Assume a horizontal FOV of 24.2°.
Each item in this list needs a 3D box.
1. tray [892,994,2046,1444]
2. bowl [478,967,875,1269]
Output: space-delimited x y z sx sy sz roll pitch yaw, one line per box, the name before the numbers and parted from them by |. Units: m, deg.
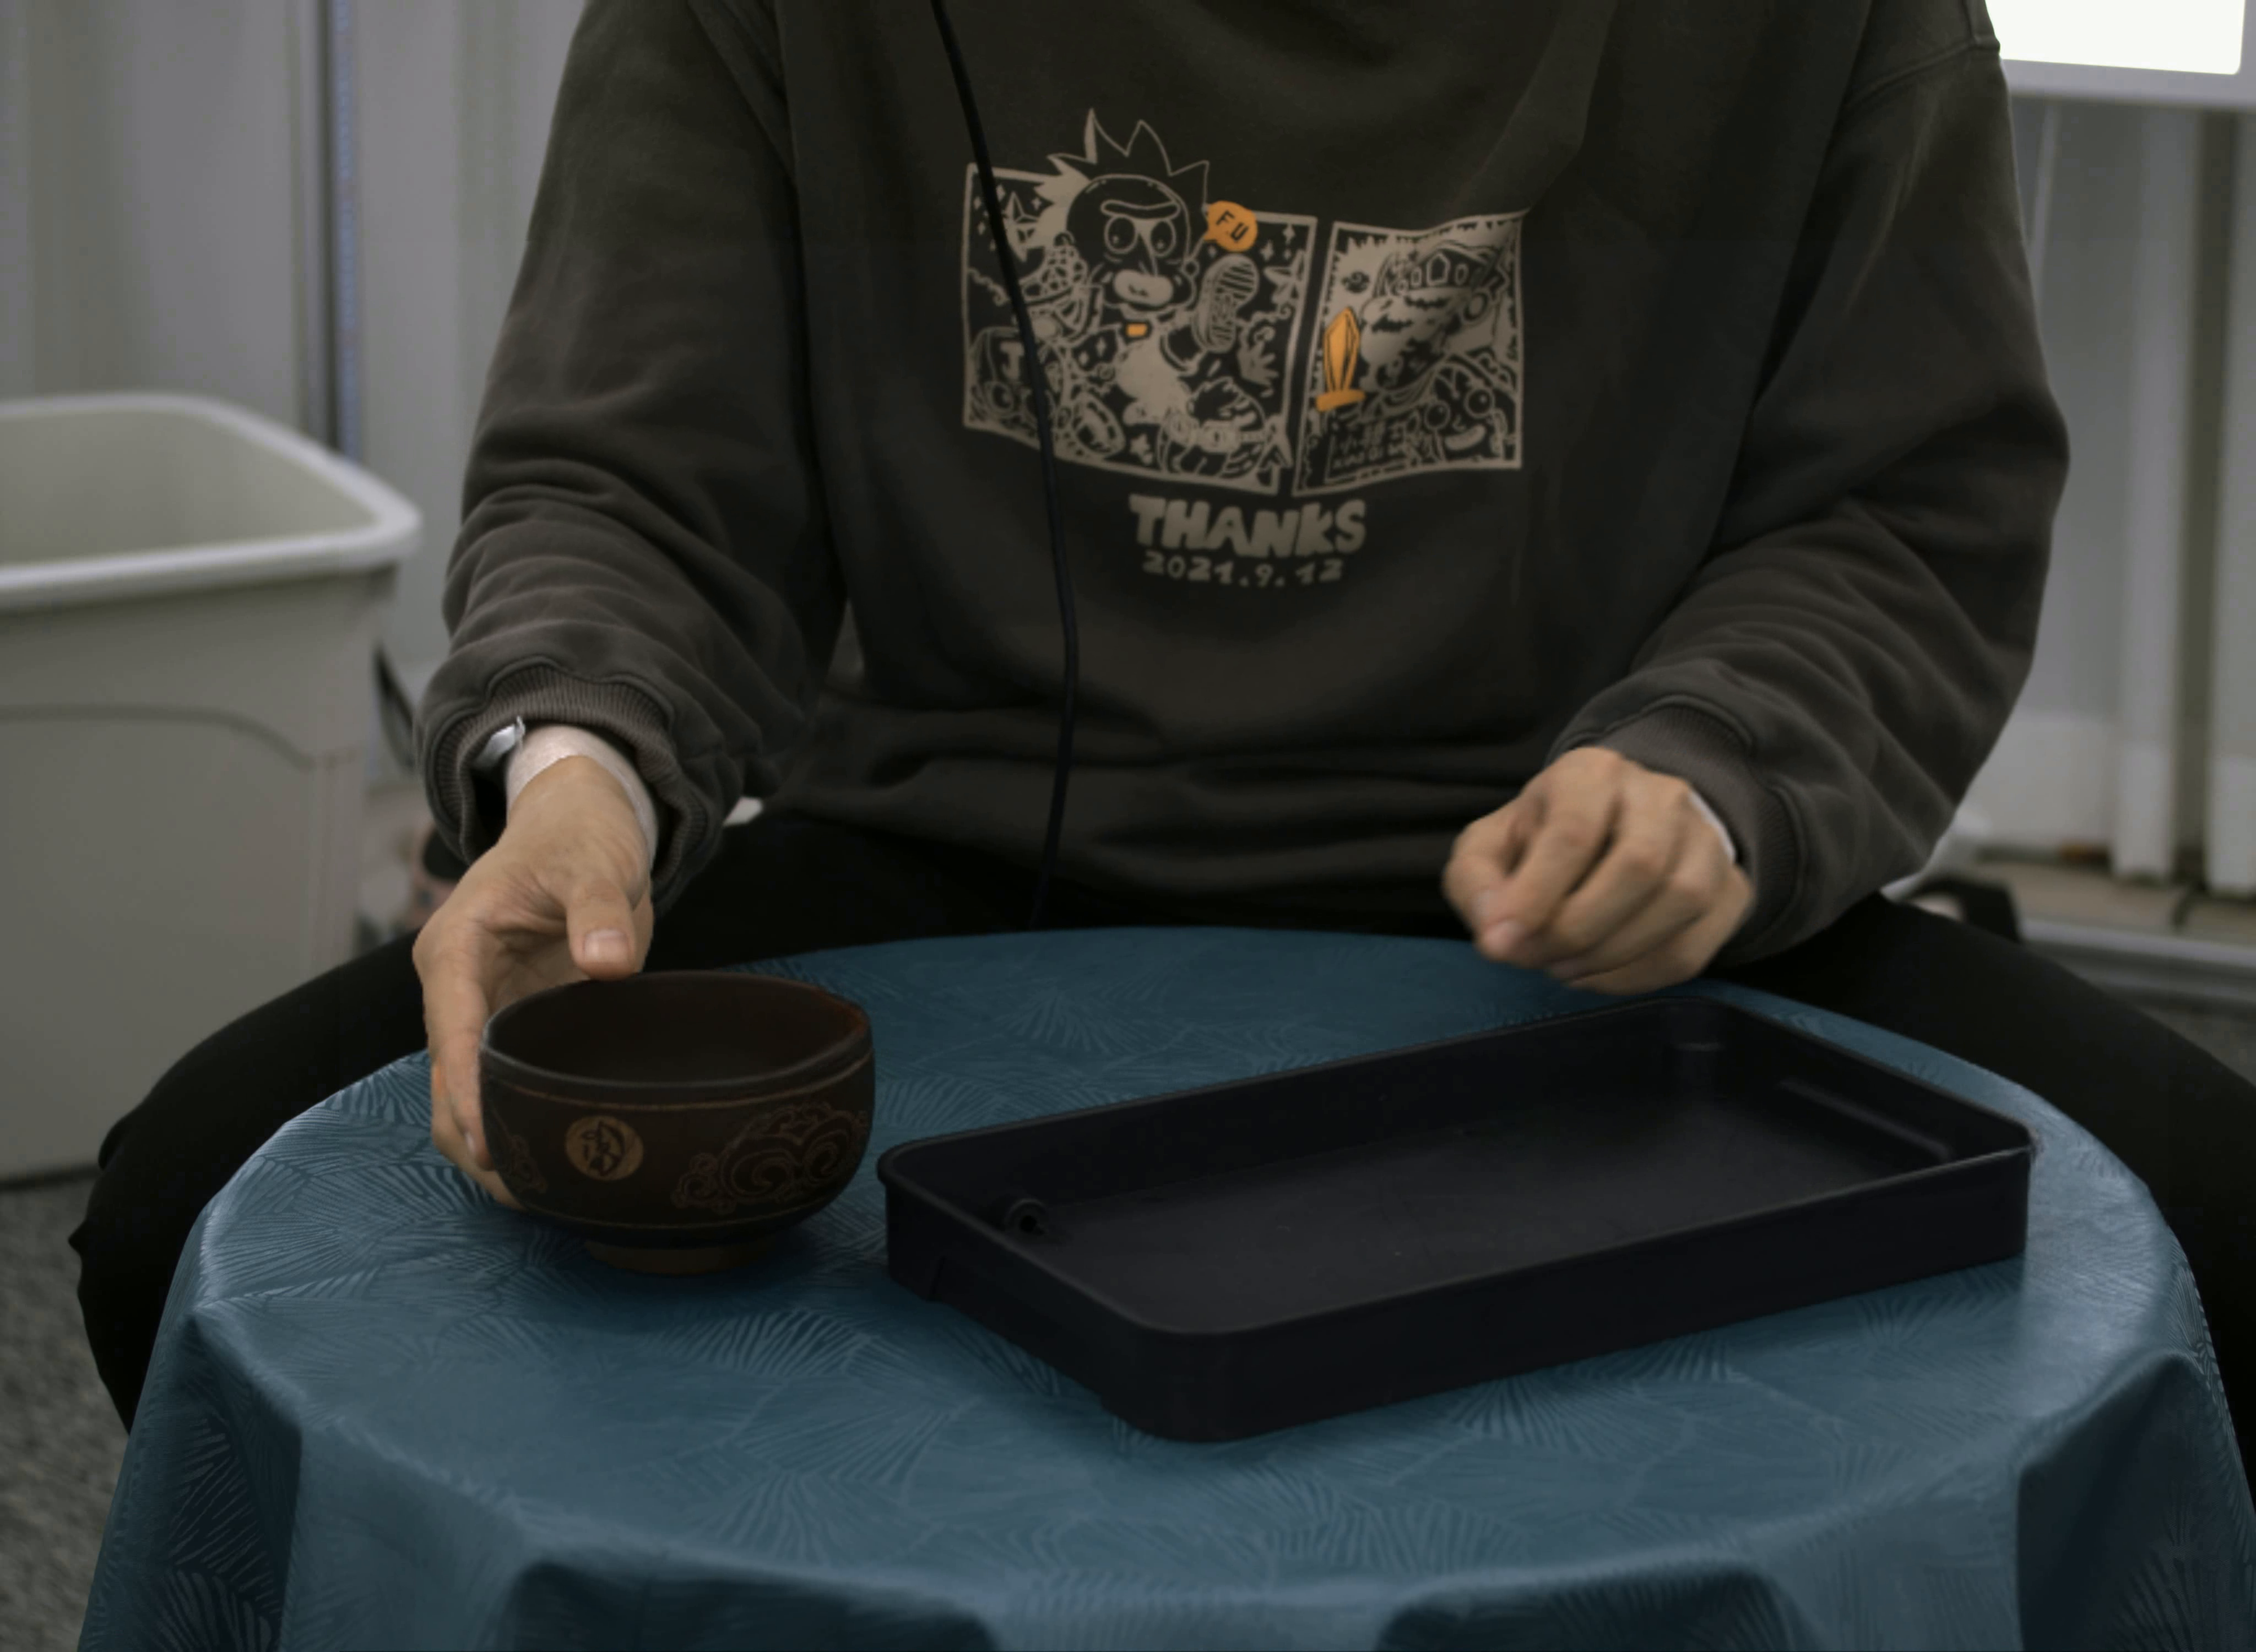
tray | 0.103 0.111 1.573 0.319 0.037 0.182 -10 18 -33
bowl | -0.134 0.090 1.570 0.117 0.070 0.117 0 14 0
